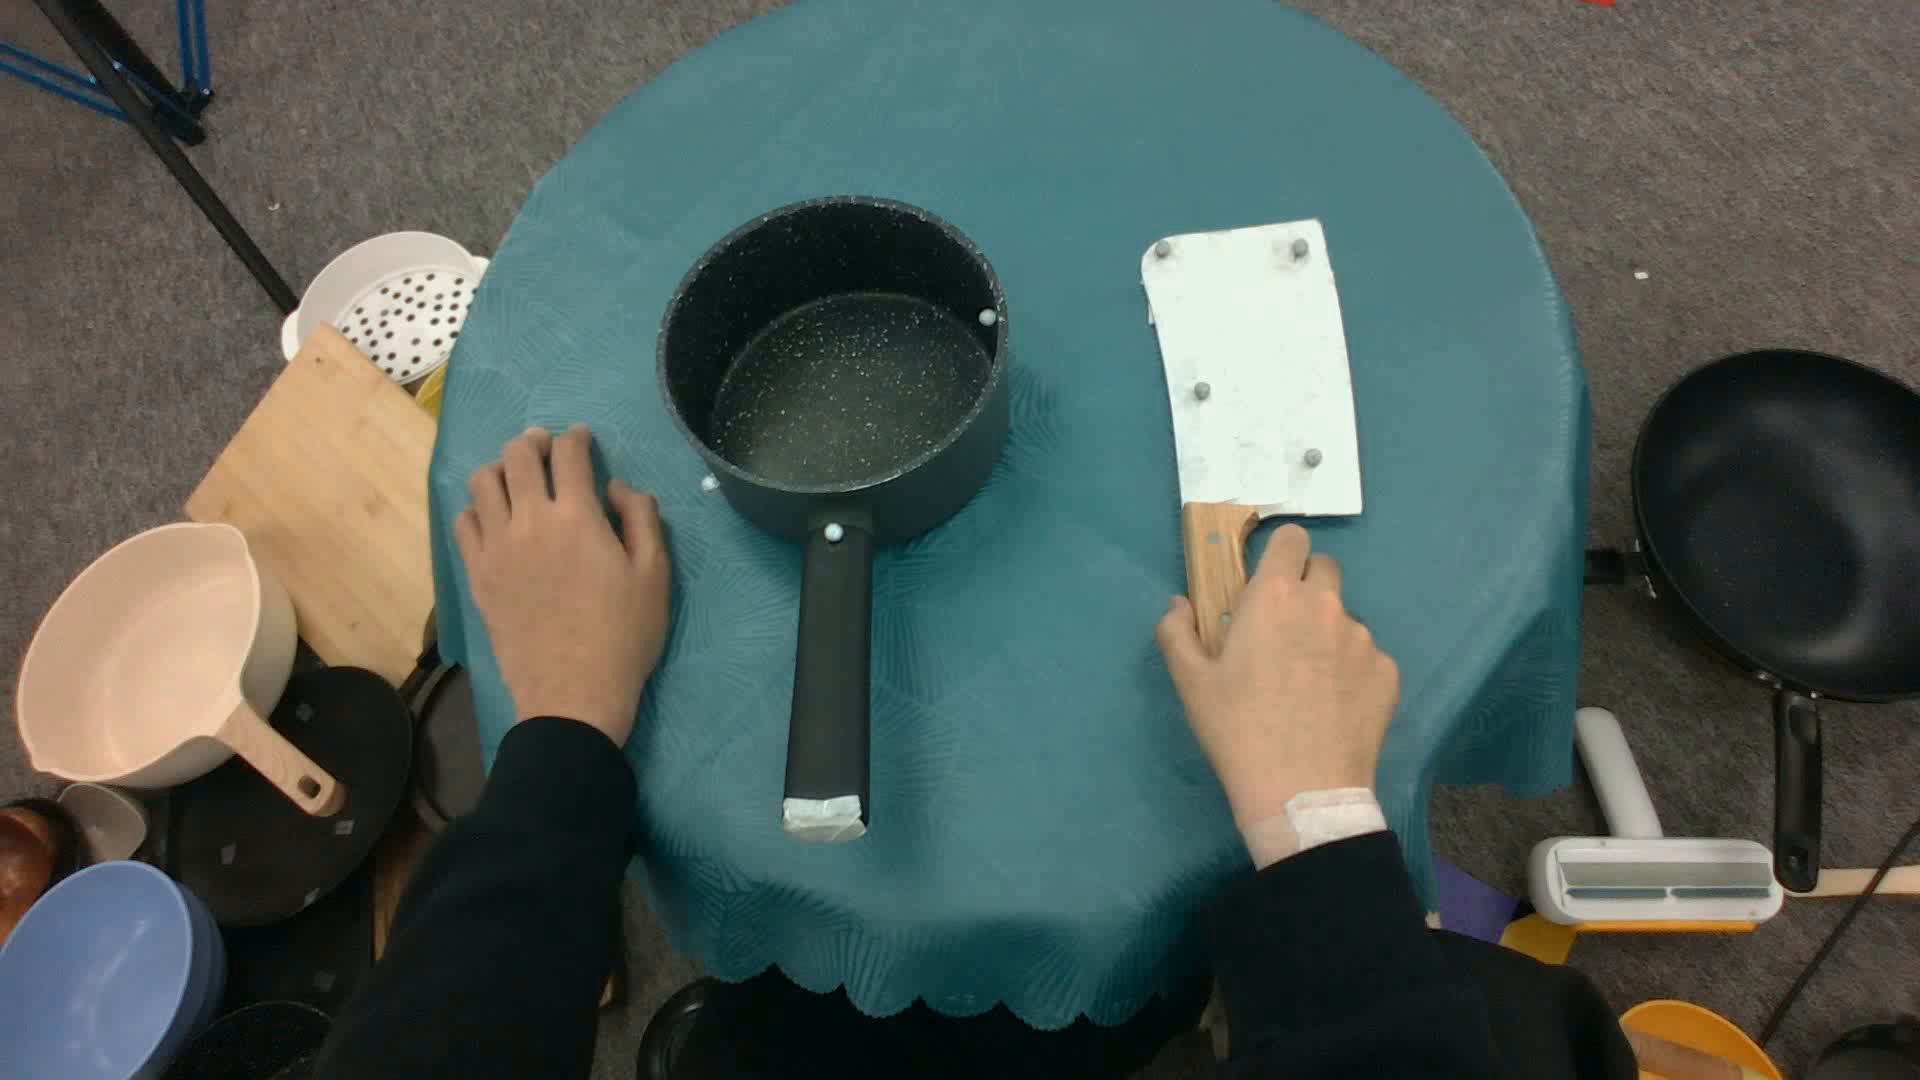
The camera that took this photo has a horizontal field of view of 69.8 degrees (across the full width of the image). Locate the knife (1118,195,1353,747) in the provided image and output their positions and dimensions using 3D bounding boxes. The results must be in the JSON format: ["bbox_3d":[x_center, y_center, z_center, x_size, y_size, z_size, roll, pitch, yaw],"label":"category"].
[{"bbox_3d":[0.135,-0.049,0.680,0.114,0.021,0.316,1,61,6],"label":"knife"}]

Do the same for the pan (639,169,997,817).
[{"bbox_3d":[-0.065,-0.024,0.651,0.172,0.086,0.330,-3,63,7],"label":"pan"}]
